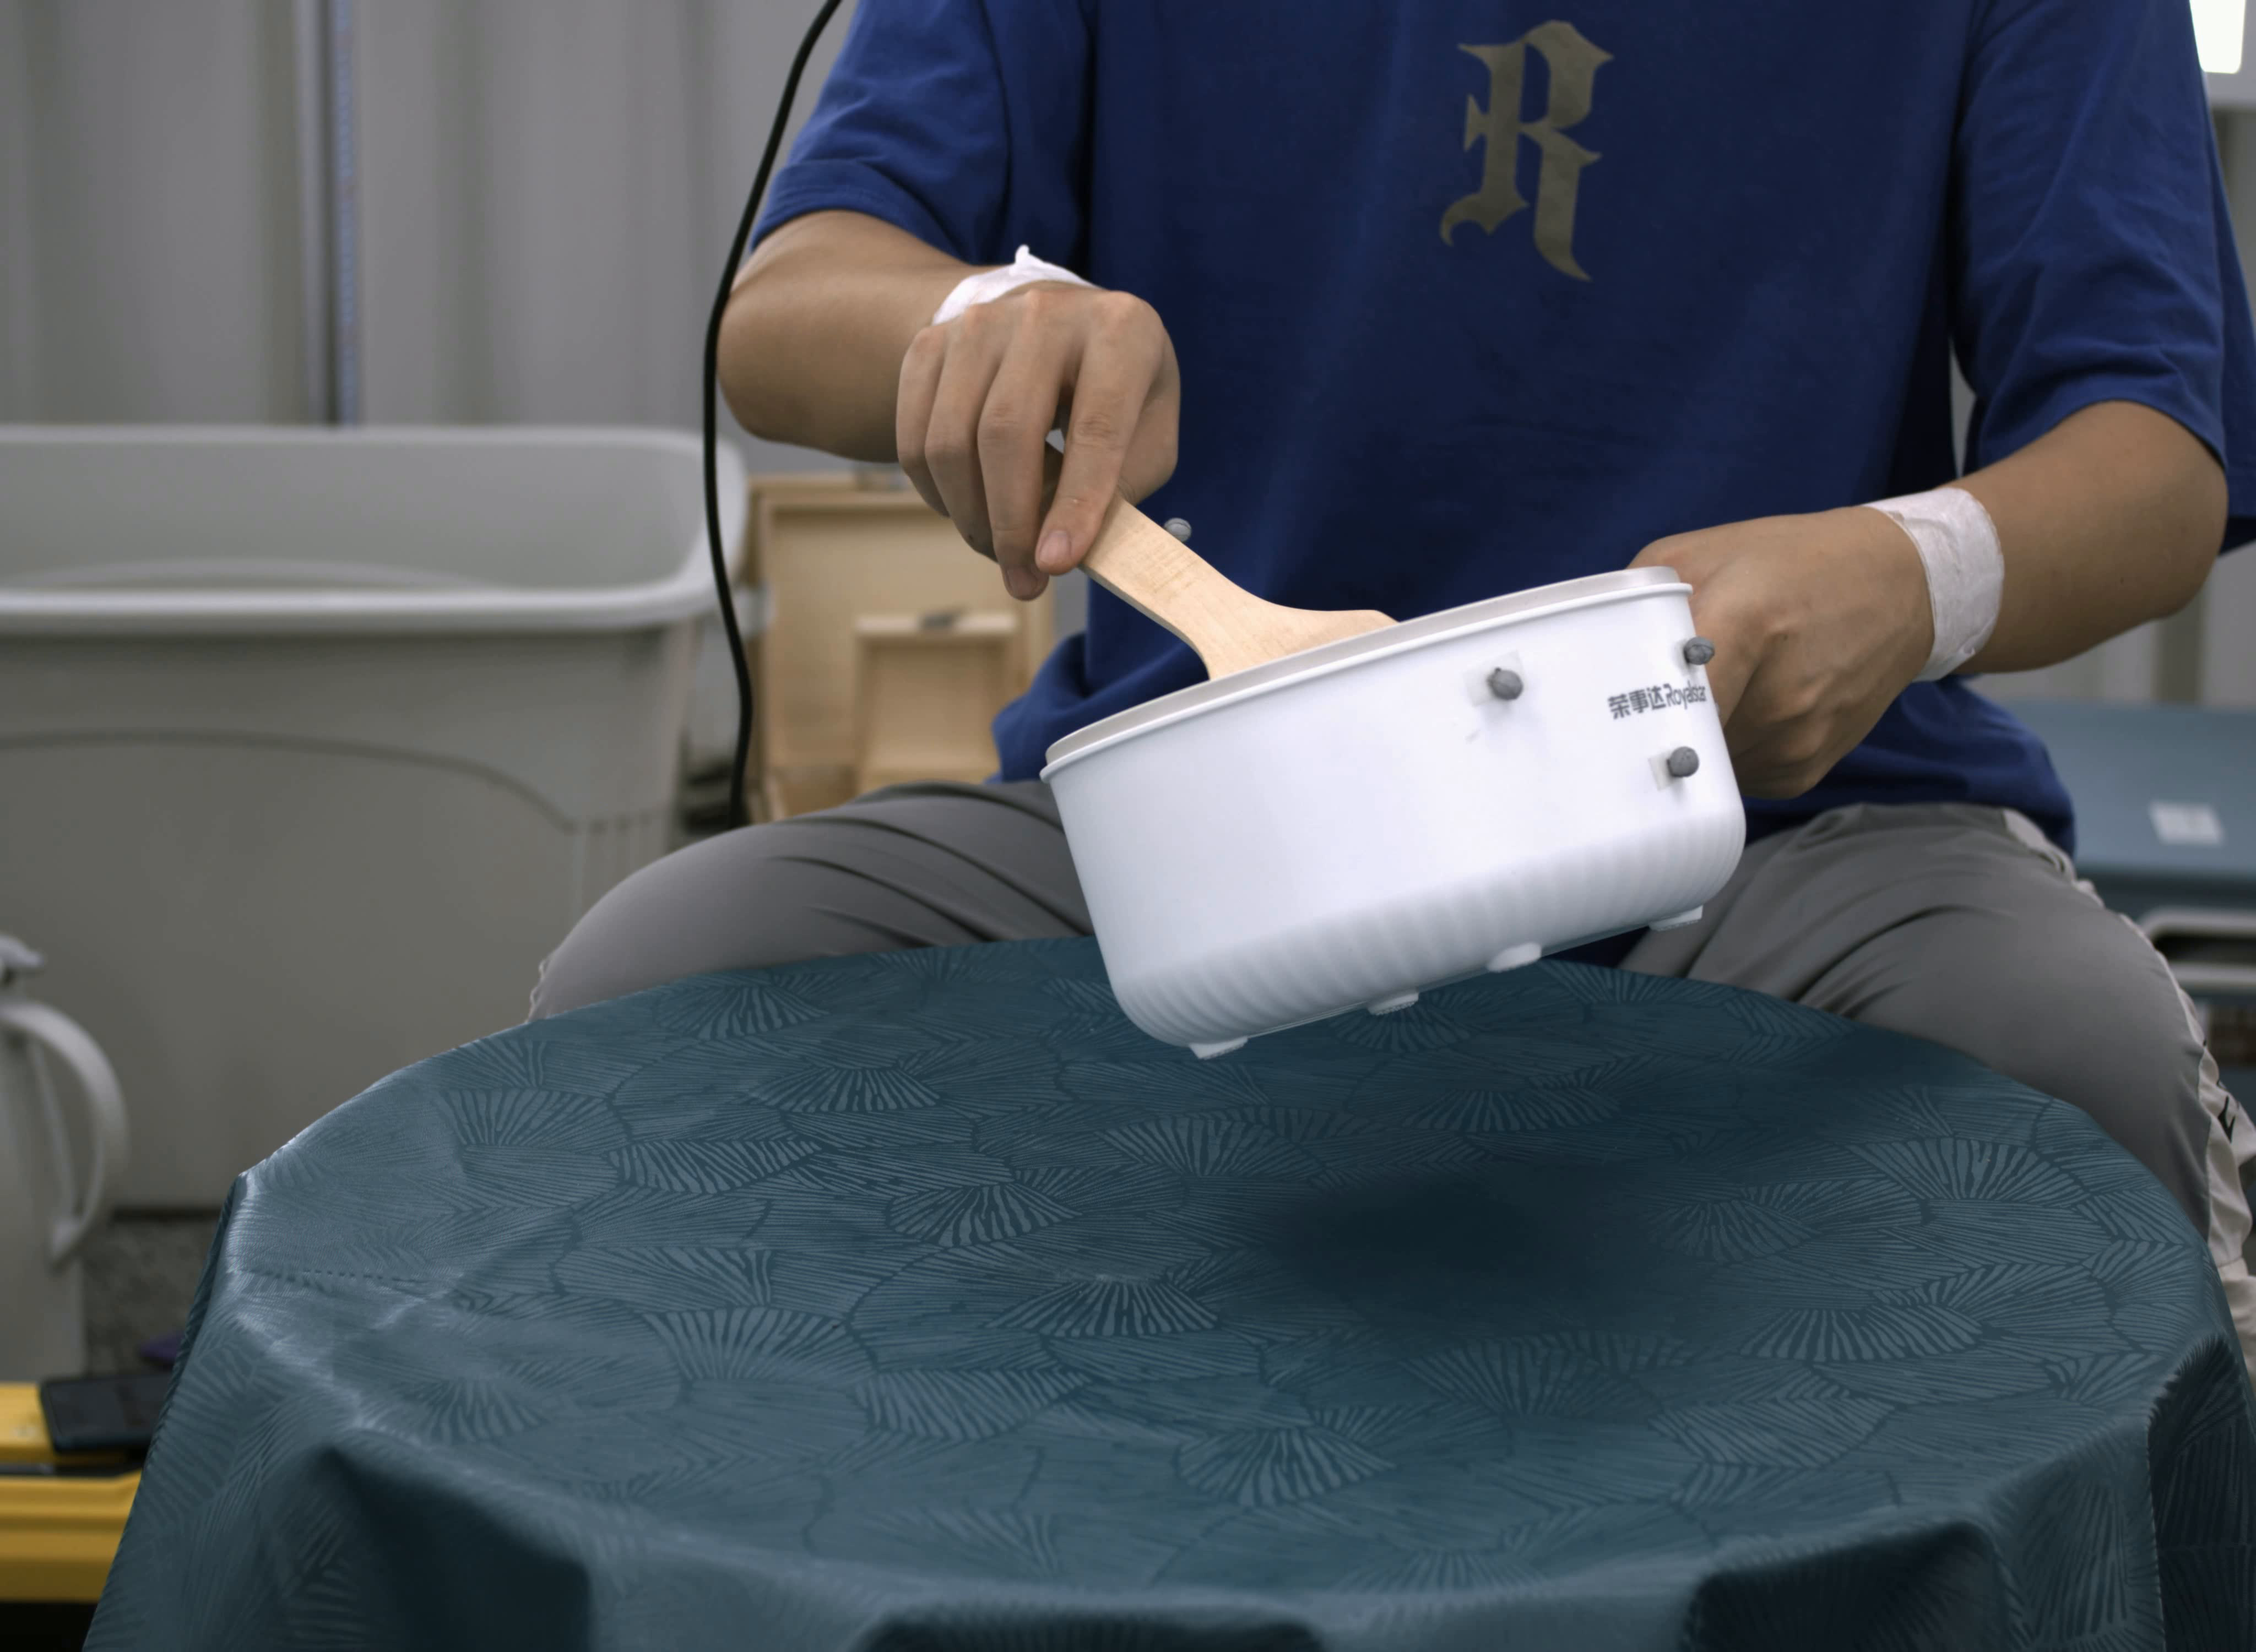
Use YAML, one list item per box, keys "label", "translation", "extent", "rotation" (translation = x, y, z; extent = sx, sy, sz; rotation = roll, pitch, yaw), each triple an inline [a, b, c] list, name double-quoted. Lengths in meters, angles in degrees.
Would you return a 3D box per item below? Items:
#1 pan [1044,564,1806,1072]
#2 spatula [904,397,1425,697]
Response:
- label: "pan"
  translation: [0.124, -0.005, 1.619]
  extent: [0.200, 0.102, 0.357]
  rotation: [-21, -5, 32]
- label: "spatula"
  translation: [0.014, -0.074, 1.643]
  extent: [0.072, 0.011, 0.289]
  rotation: [-38, 43, -13]
